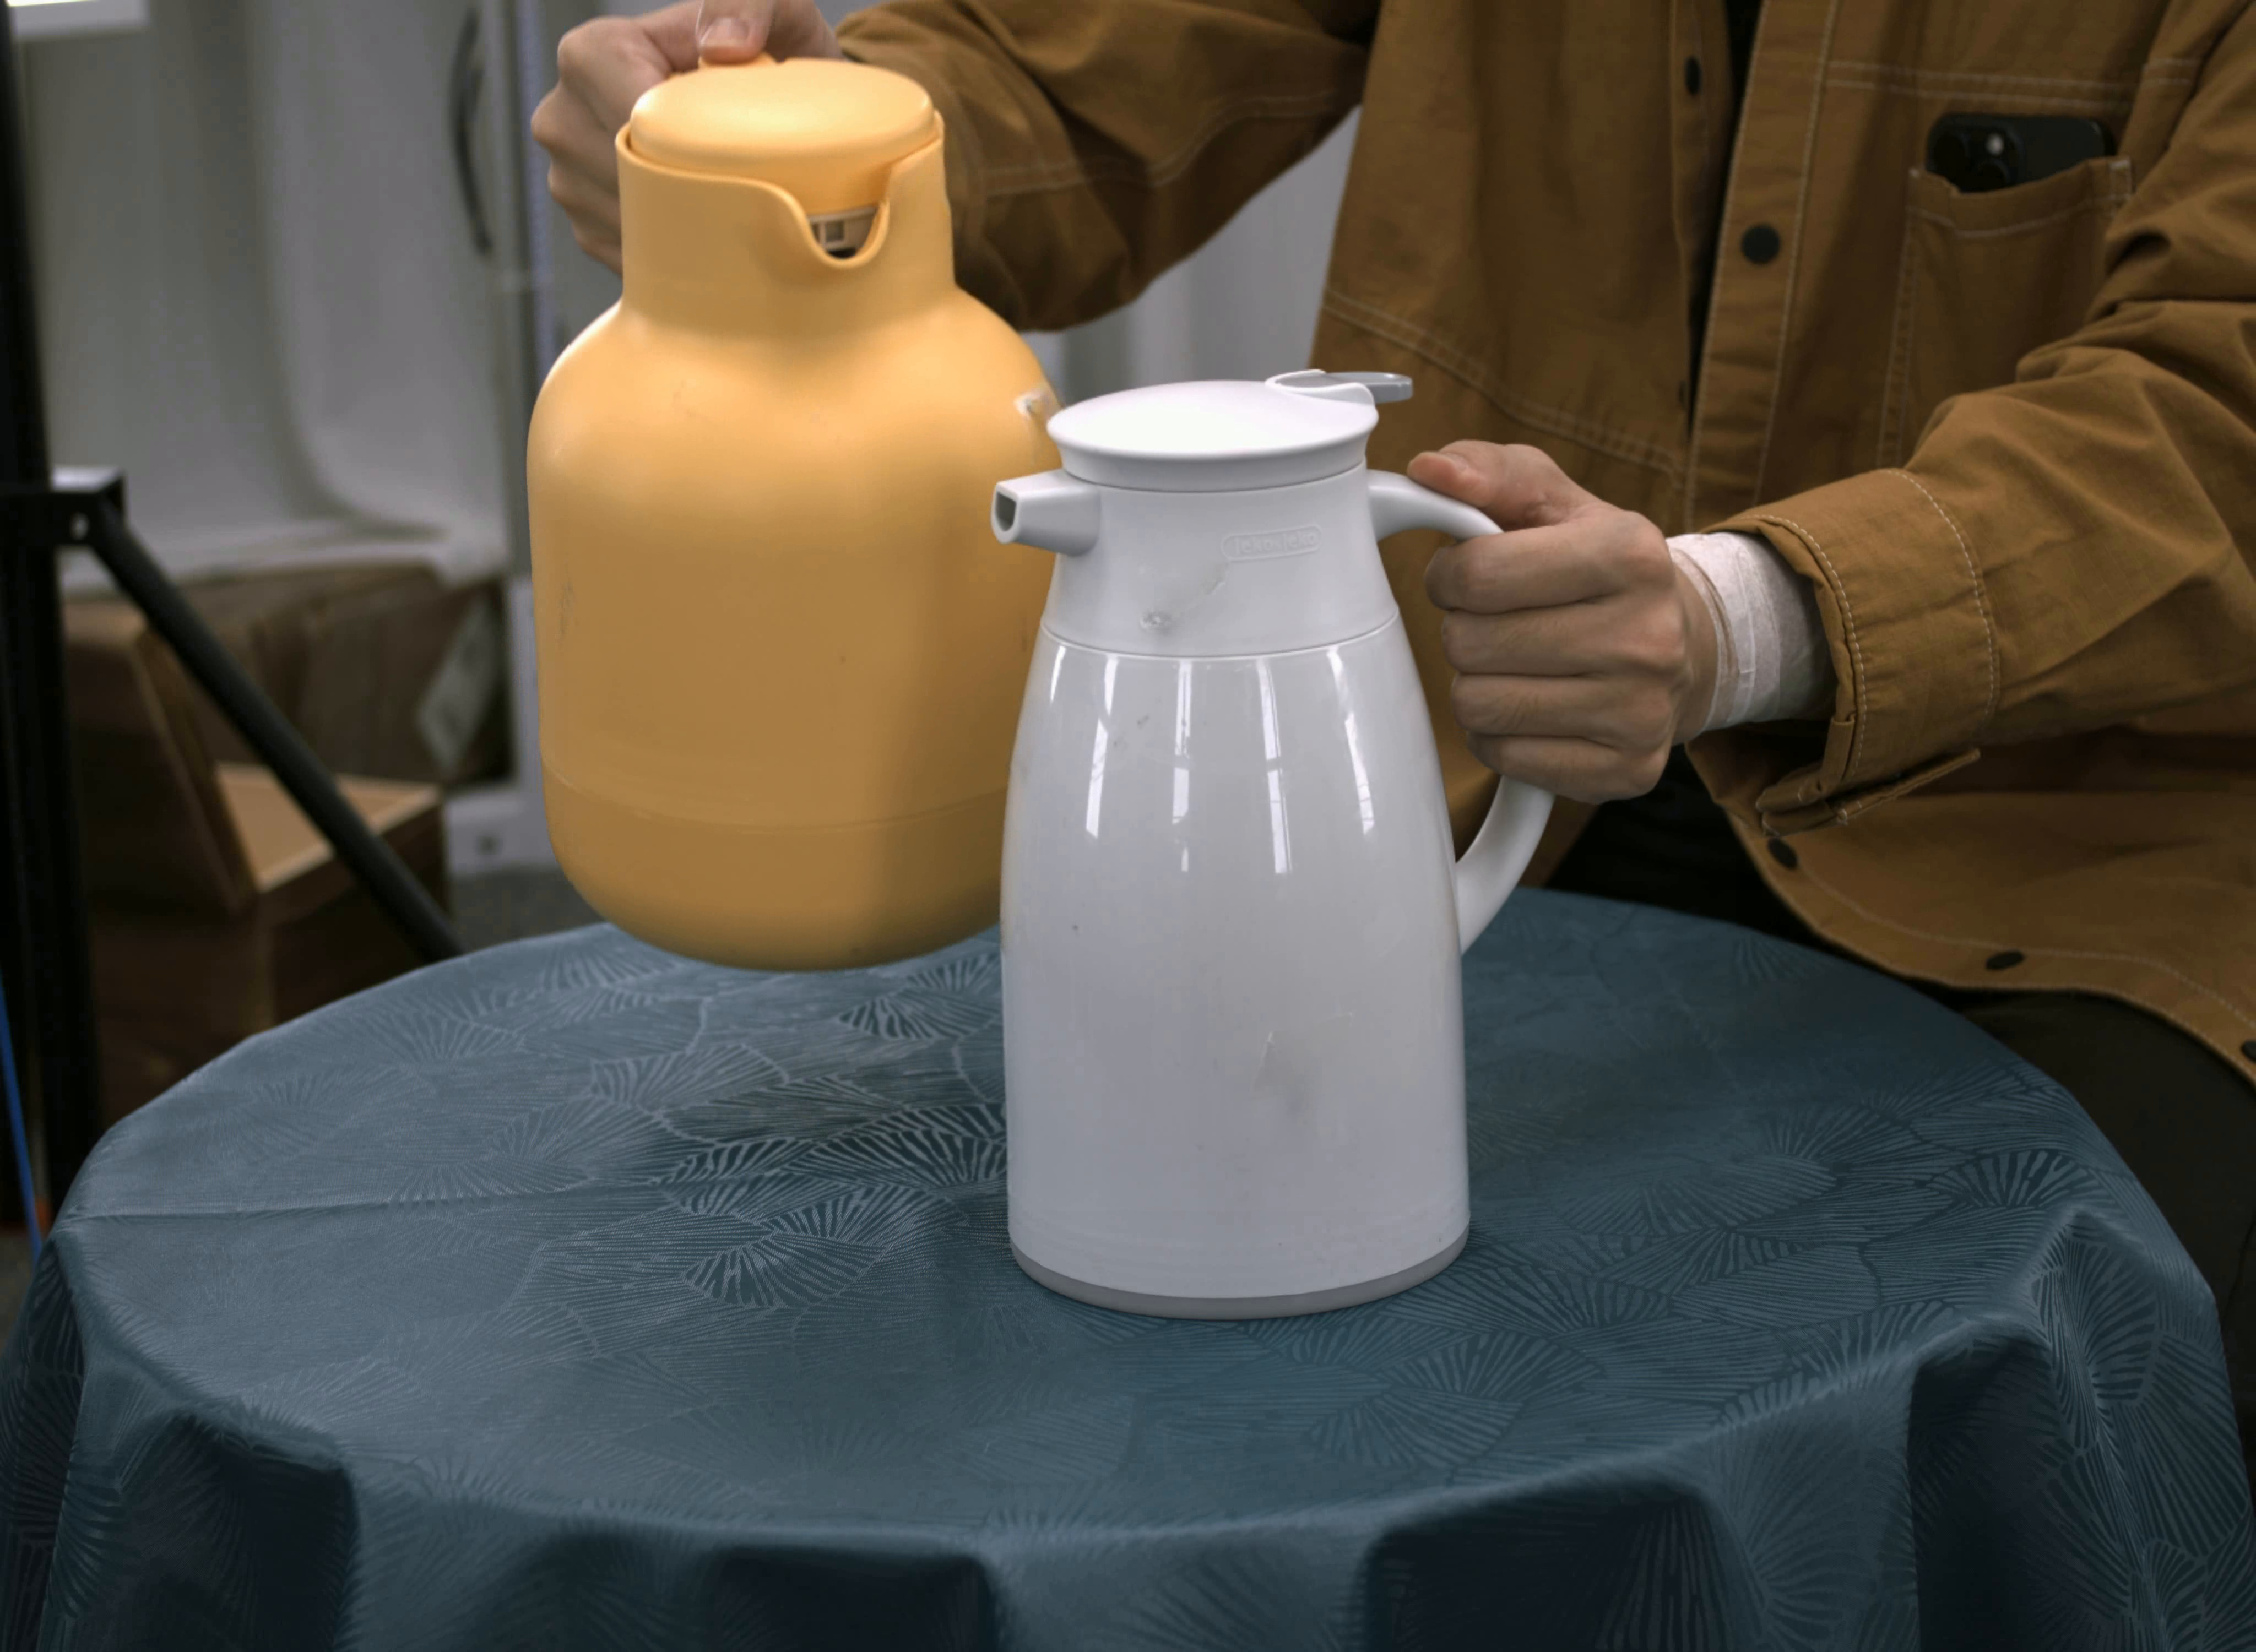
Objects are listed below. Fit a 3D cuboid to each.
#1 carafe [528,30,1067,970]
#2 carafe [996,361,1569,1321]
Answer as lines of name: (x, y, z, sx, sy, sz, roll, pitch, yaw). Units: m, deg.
carafe: (-0.102, -0.106, 1.604, 0.161, 0.260, 0.206, -5, 24, -15)
carafe: (0.045, -0.004, 1.488, 0.164, 0.248, 0.135, -7, 16, -20)
